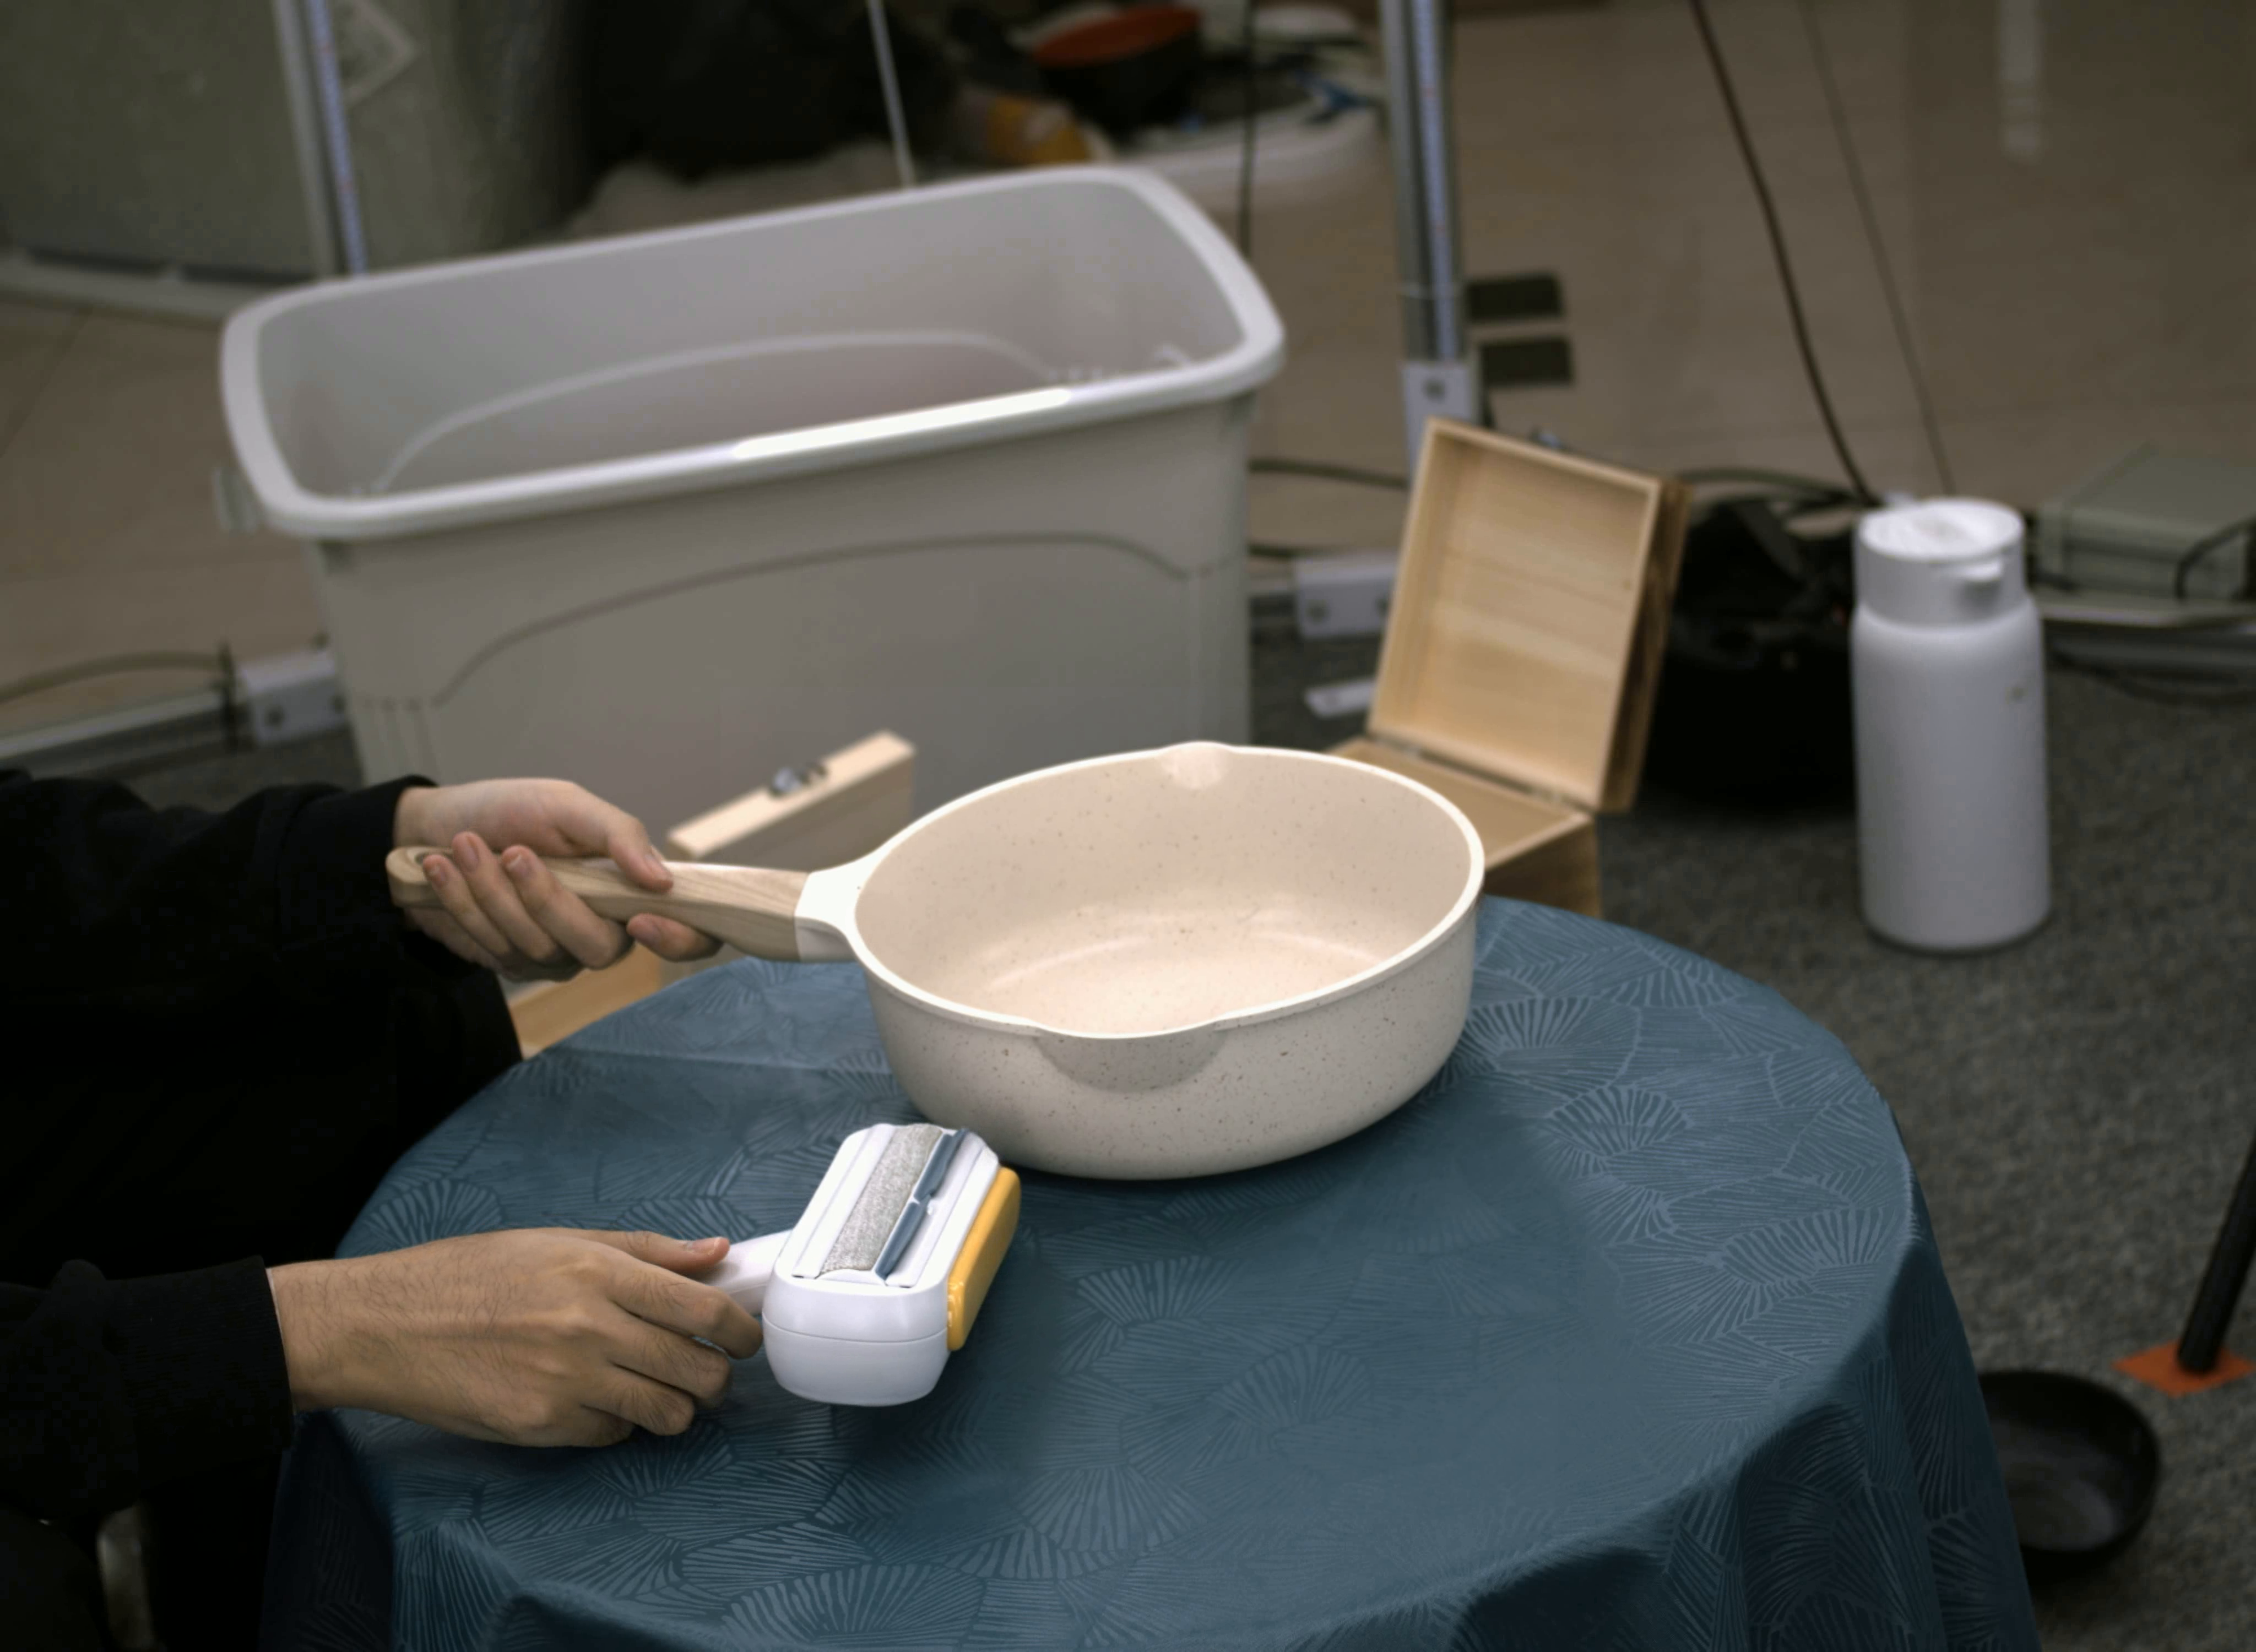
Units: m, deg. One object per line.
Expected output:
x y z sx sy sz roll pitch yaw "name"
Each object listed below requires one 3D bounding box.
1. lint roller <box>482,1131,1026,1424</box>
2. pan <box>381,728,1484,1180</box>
-0.143 0.167 2.038 0.192 0.075 0.190 -3 19 12 "lint roller"
-0.074 0.052 2.229 0.434 0.104 0.259 -3 28 8 "pan"
